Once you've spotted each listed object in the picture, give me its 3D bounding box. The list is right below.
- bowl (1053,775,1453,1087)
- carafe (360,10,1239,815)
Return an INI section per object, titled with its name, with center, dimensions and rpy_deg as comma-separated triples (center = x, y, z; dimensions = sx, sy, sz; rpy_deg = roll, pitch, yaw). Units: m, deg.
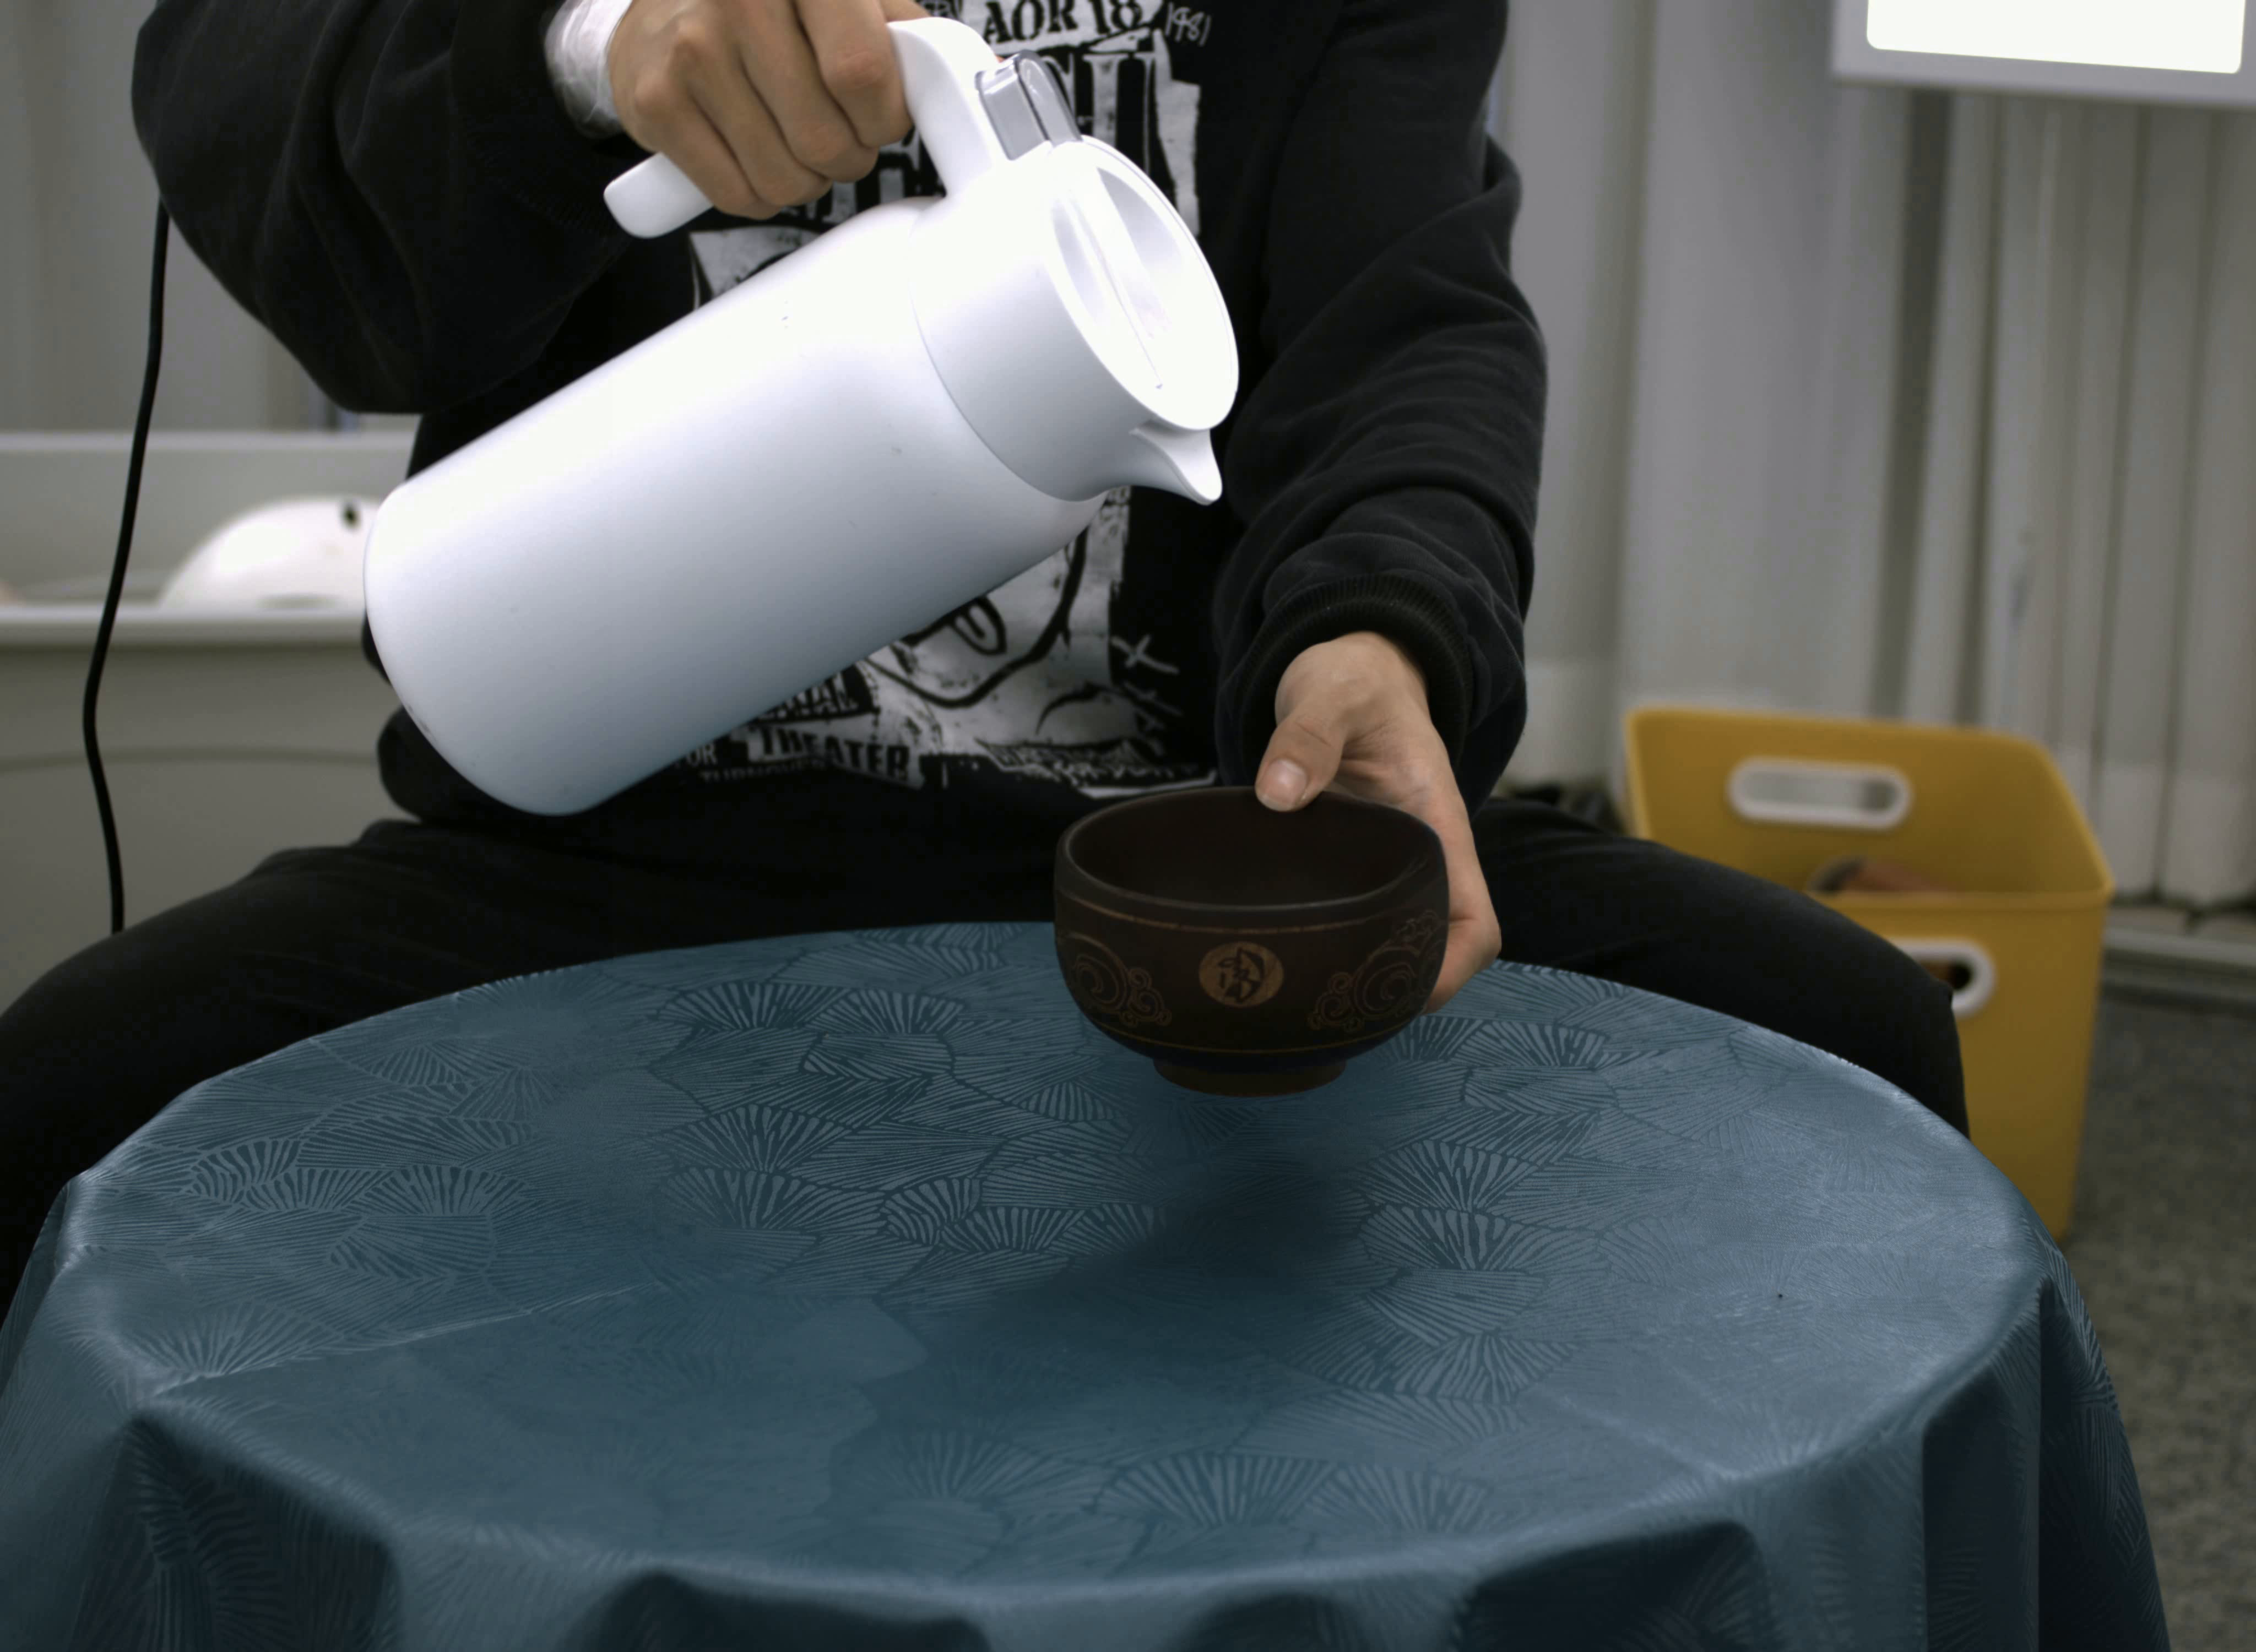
[bowl]
center = 0.037, 0.035, 1.546
dimensions = 0.117, 0.070, 0.117
rpy_deg = 0, 18, 1
[carafe]
center = -0.109, -0.123, 1.587
dimensions = 0.267, 0.173, 0.124
rpy_deg = -28, -1, 30
